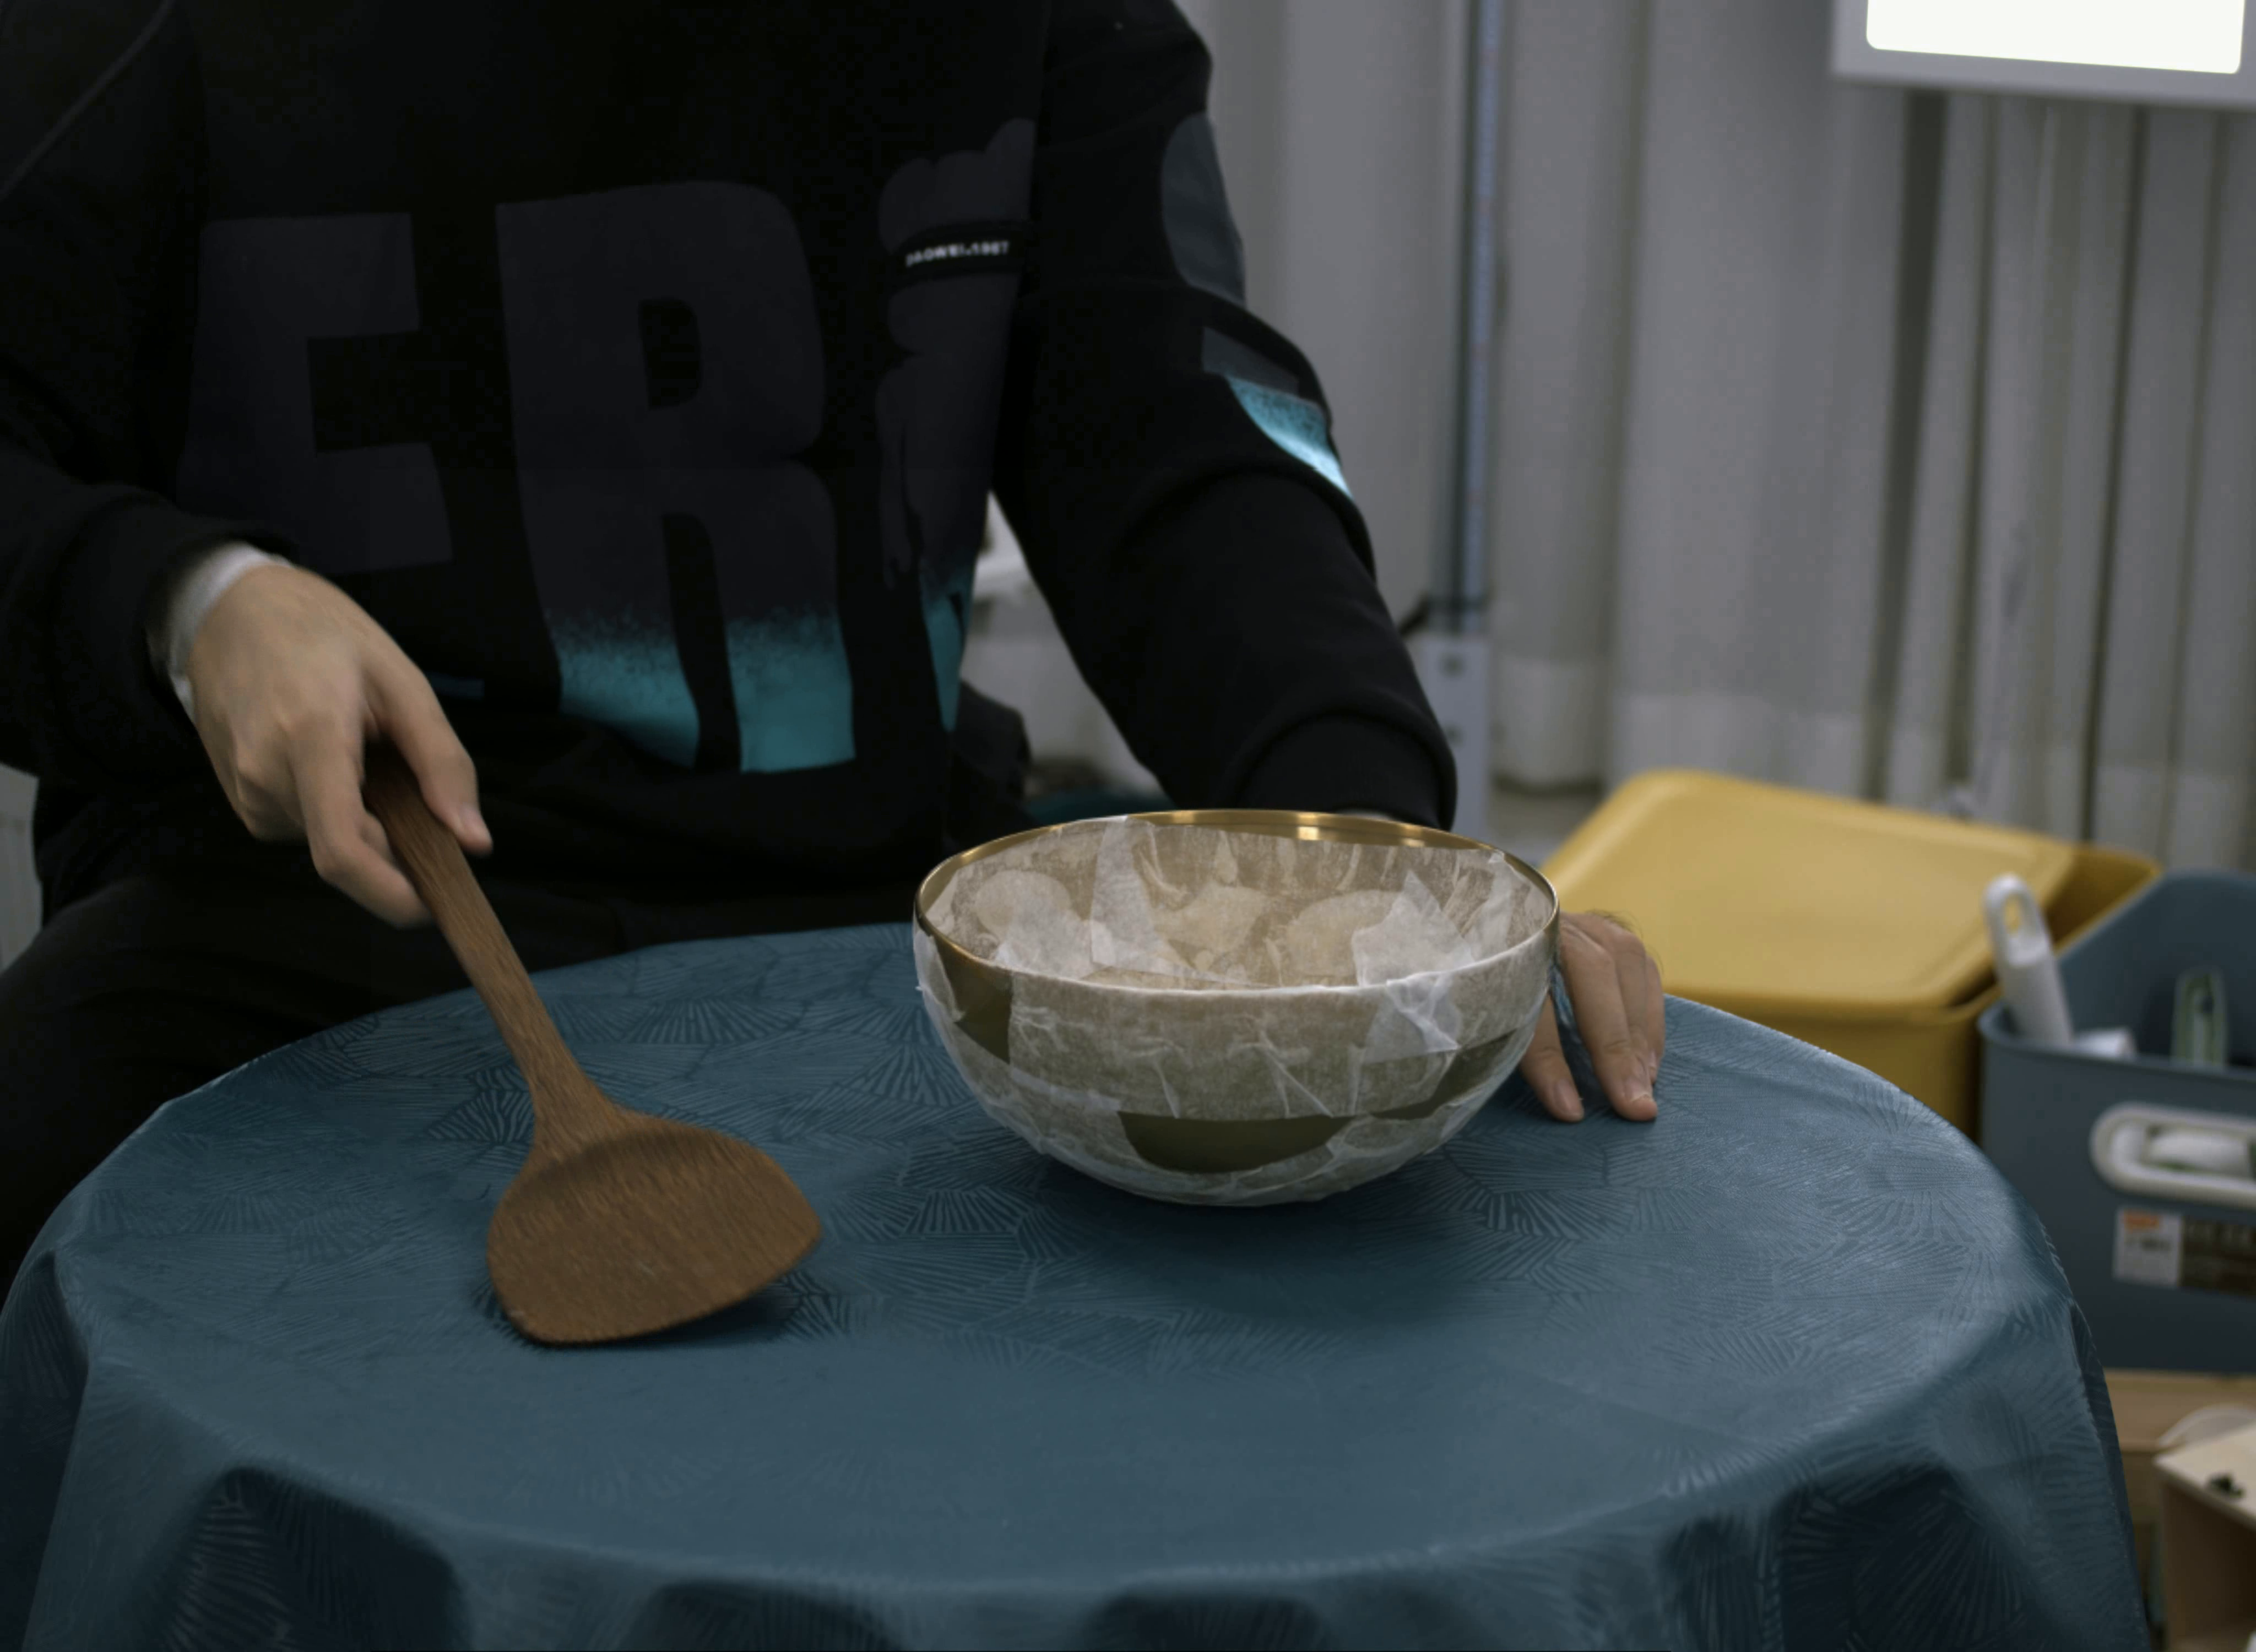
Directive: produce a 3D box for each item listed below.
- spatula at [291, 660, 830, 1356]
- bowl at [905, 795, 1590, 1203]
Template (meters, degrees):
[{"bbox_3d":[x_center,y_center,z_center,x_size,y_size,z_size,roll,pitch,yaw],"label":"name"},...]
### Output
[{"bbox_3d":[-0.198,0.044,1.637,0.096,0.016,0.380,-17,39,-17],"label":"spatula"},{"bbox_3d":[0.036,0.062,1.633,0.214,0.095,0.213,-1,16,1],"label":"bowl"}]
